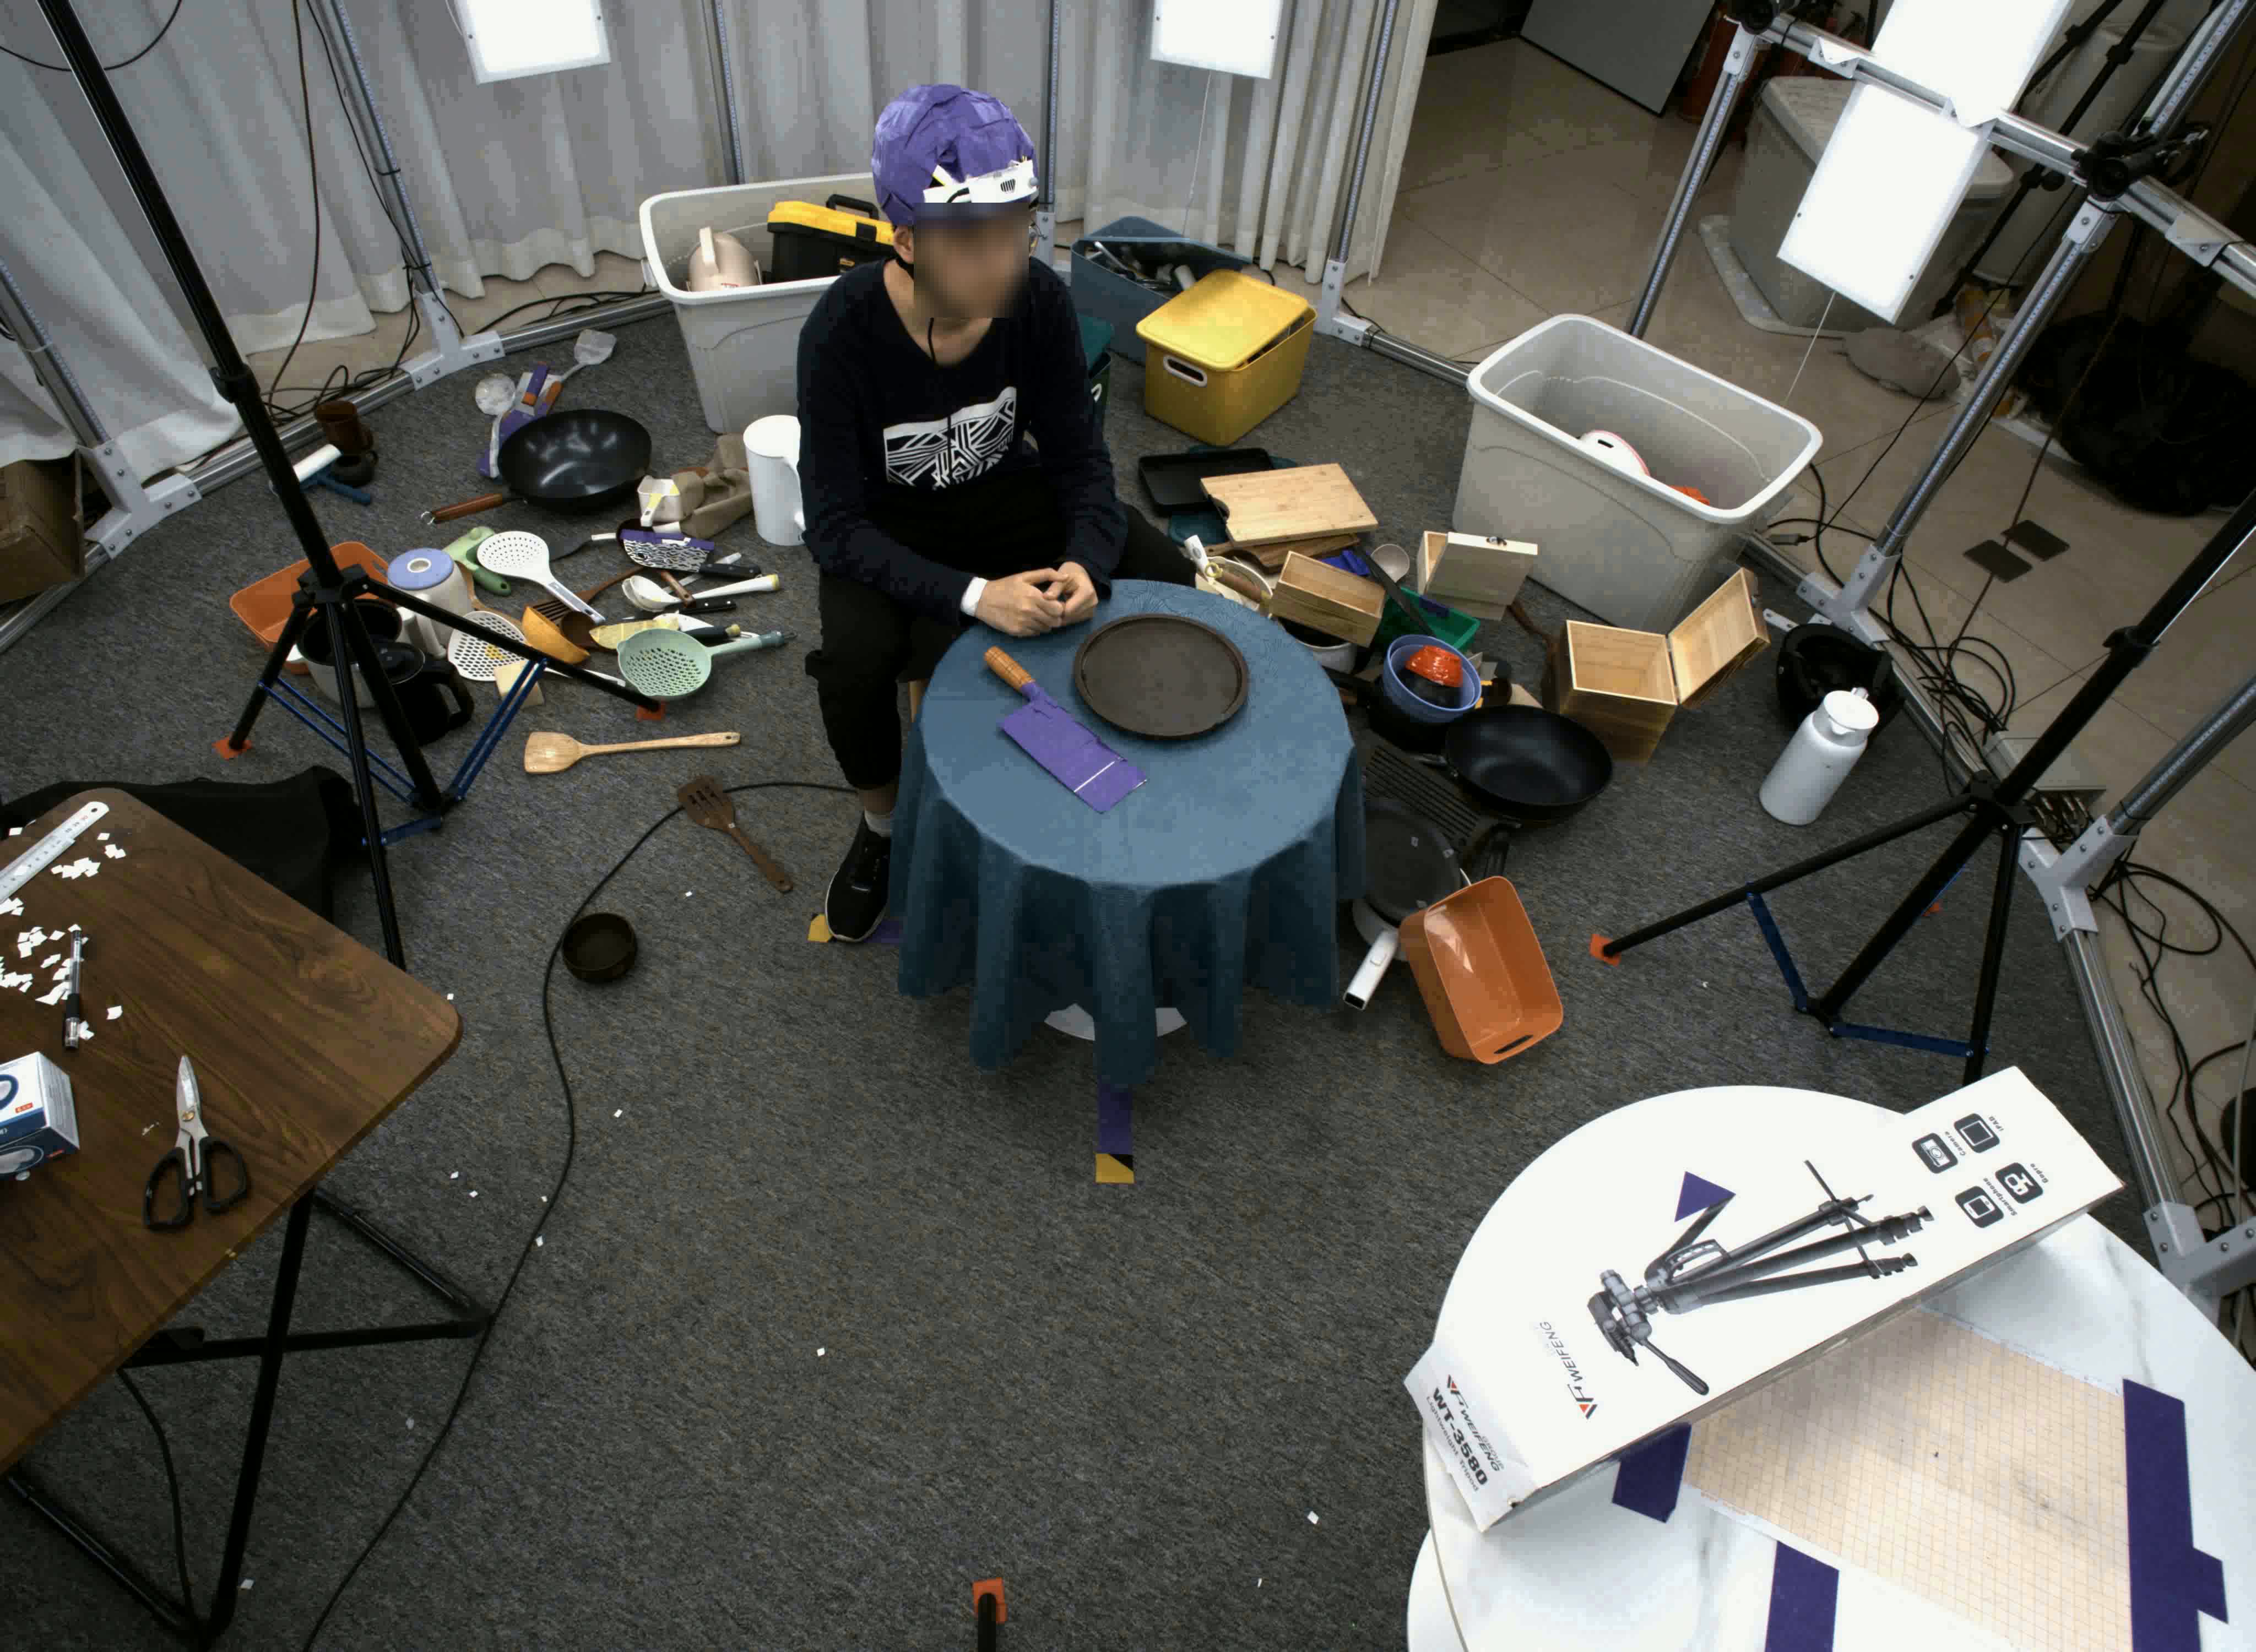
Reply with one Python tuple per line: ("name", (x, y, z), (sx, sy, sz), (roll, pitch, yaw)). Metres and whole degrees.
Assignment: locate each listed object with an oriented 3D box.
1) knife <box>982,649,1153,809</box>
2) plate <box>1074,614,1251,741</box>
("knife", (-0.110, -0.136, 1.760), (0.105, 0.031, 0.320), (-35, 60, -29))
("plate", (0.049, -0.215, 1.841), (0.254, 0.028, 0.261), (2, 50, -3))
